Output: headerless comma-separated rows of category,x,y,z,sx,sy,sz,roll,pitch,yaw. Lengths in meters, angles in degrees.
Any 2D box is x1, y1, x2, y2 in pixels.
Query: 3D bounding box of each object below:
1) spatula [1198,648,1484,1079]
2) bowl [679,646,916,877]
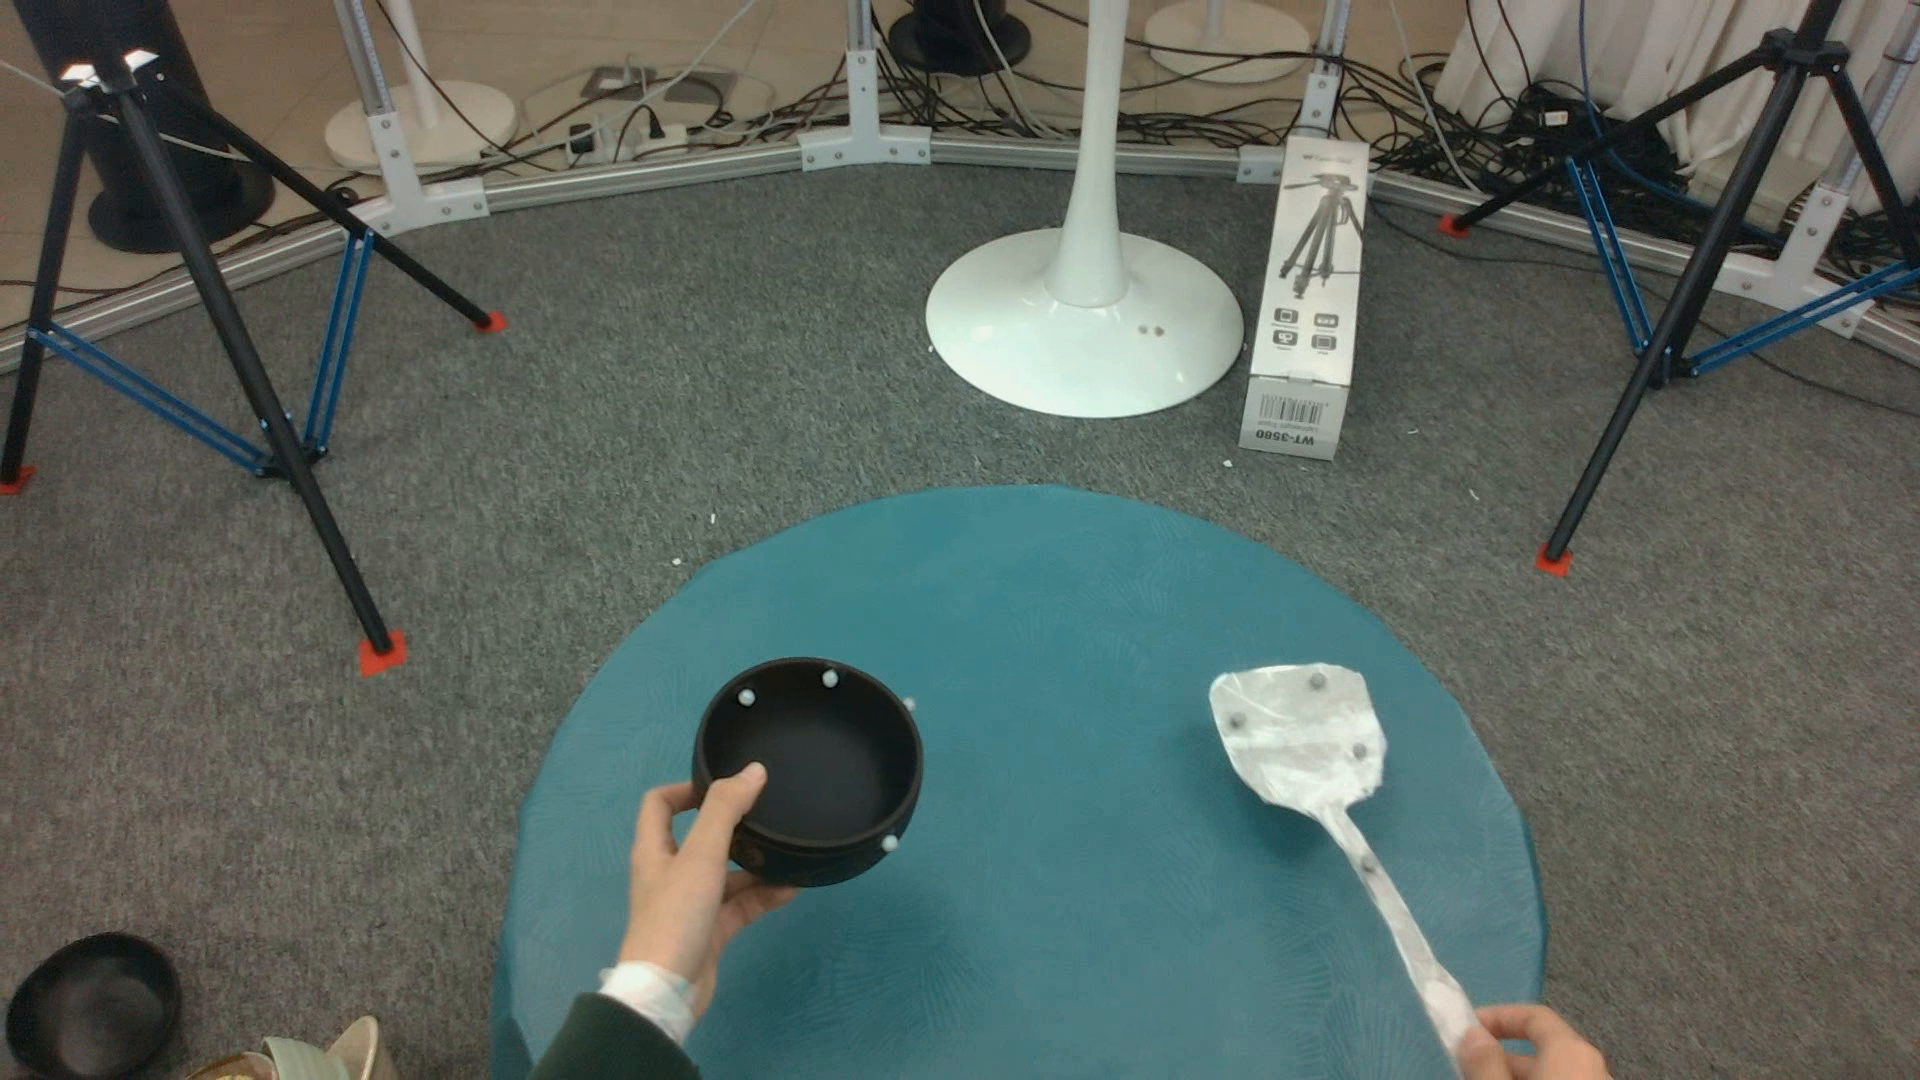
spatula,0.210,0.174,0.707,0.099,0.044,0.366,-2,29,-6
bowl,-0.085,0.120,0.707,0.118,0.069,0.118,7,45,-7
